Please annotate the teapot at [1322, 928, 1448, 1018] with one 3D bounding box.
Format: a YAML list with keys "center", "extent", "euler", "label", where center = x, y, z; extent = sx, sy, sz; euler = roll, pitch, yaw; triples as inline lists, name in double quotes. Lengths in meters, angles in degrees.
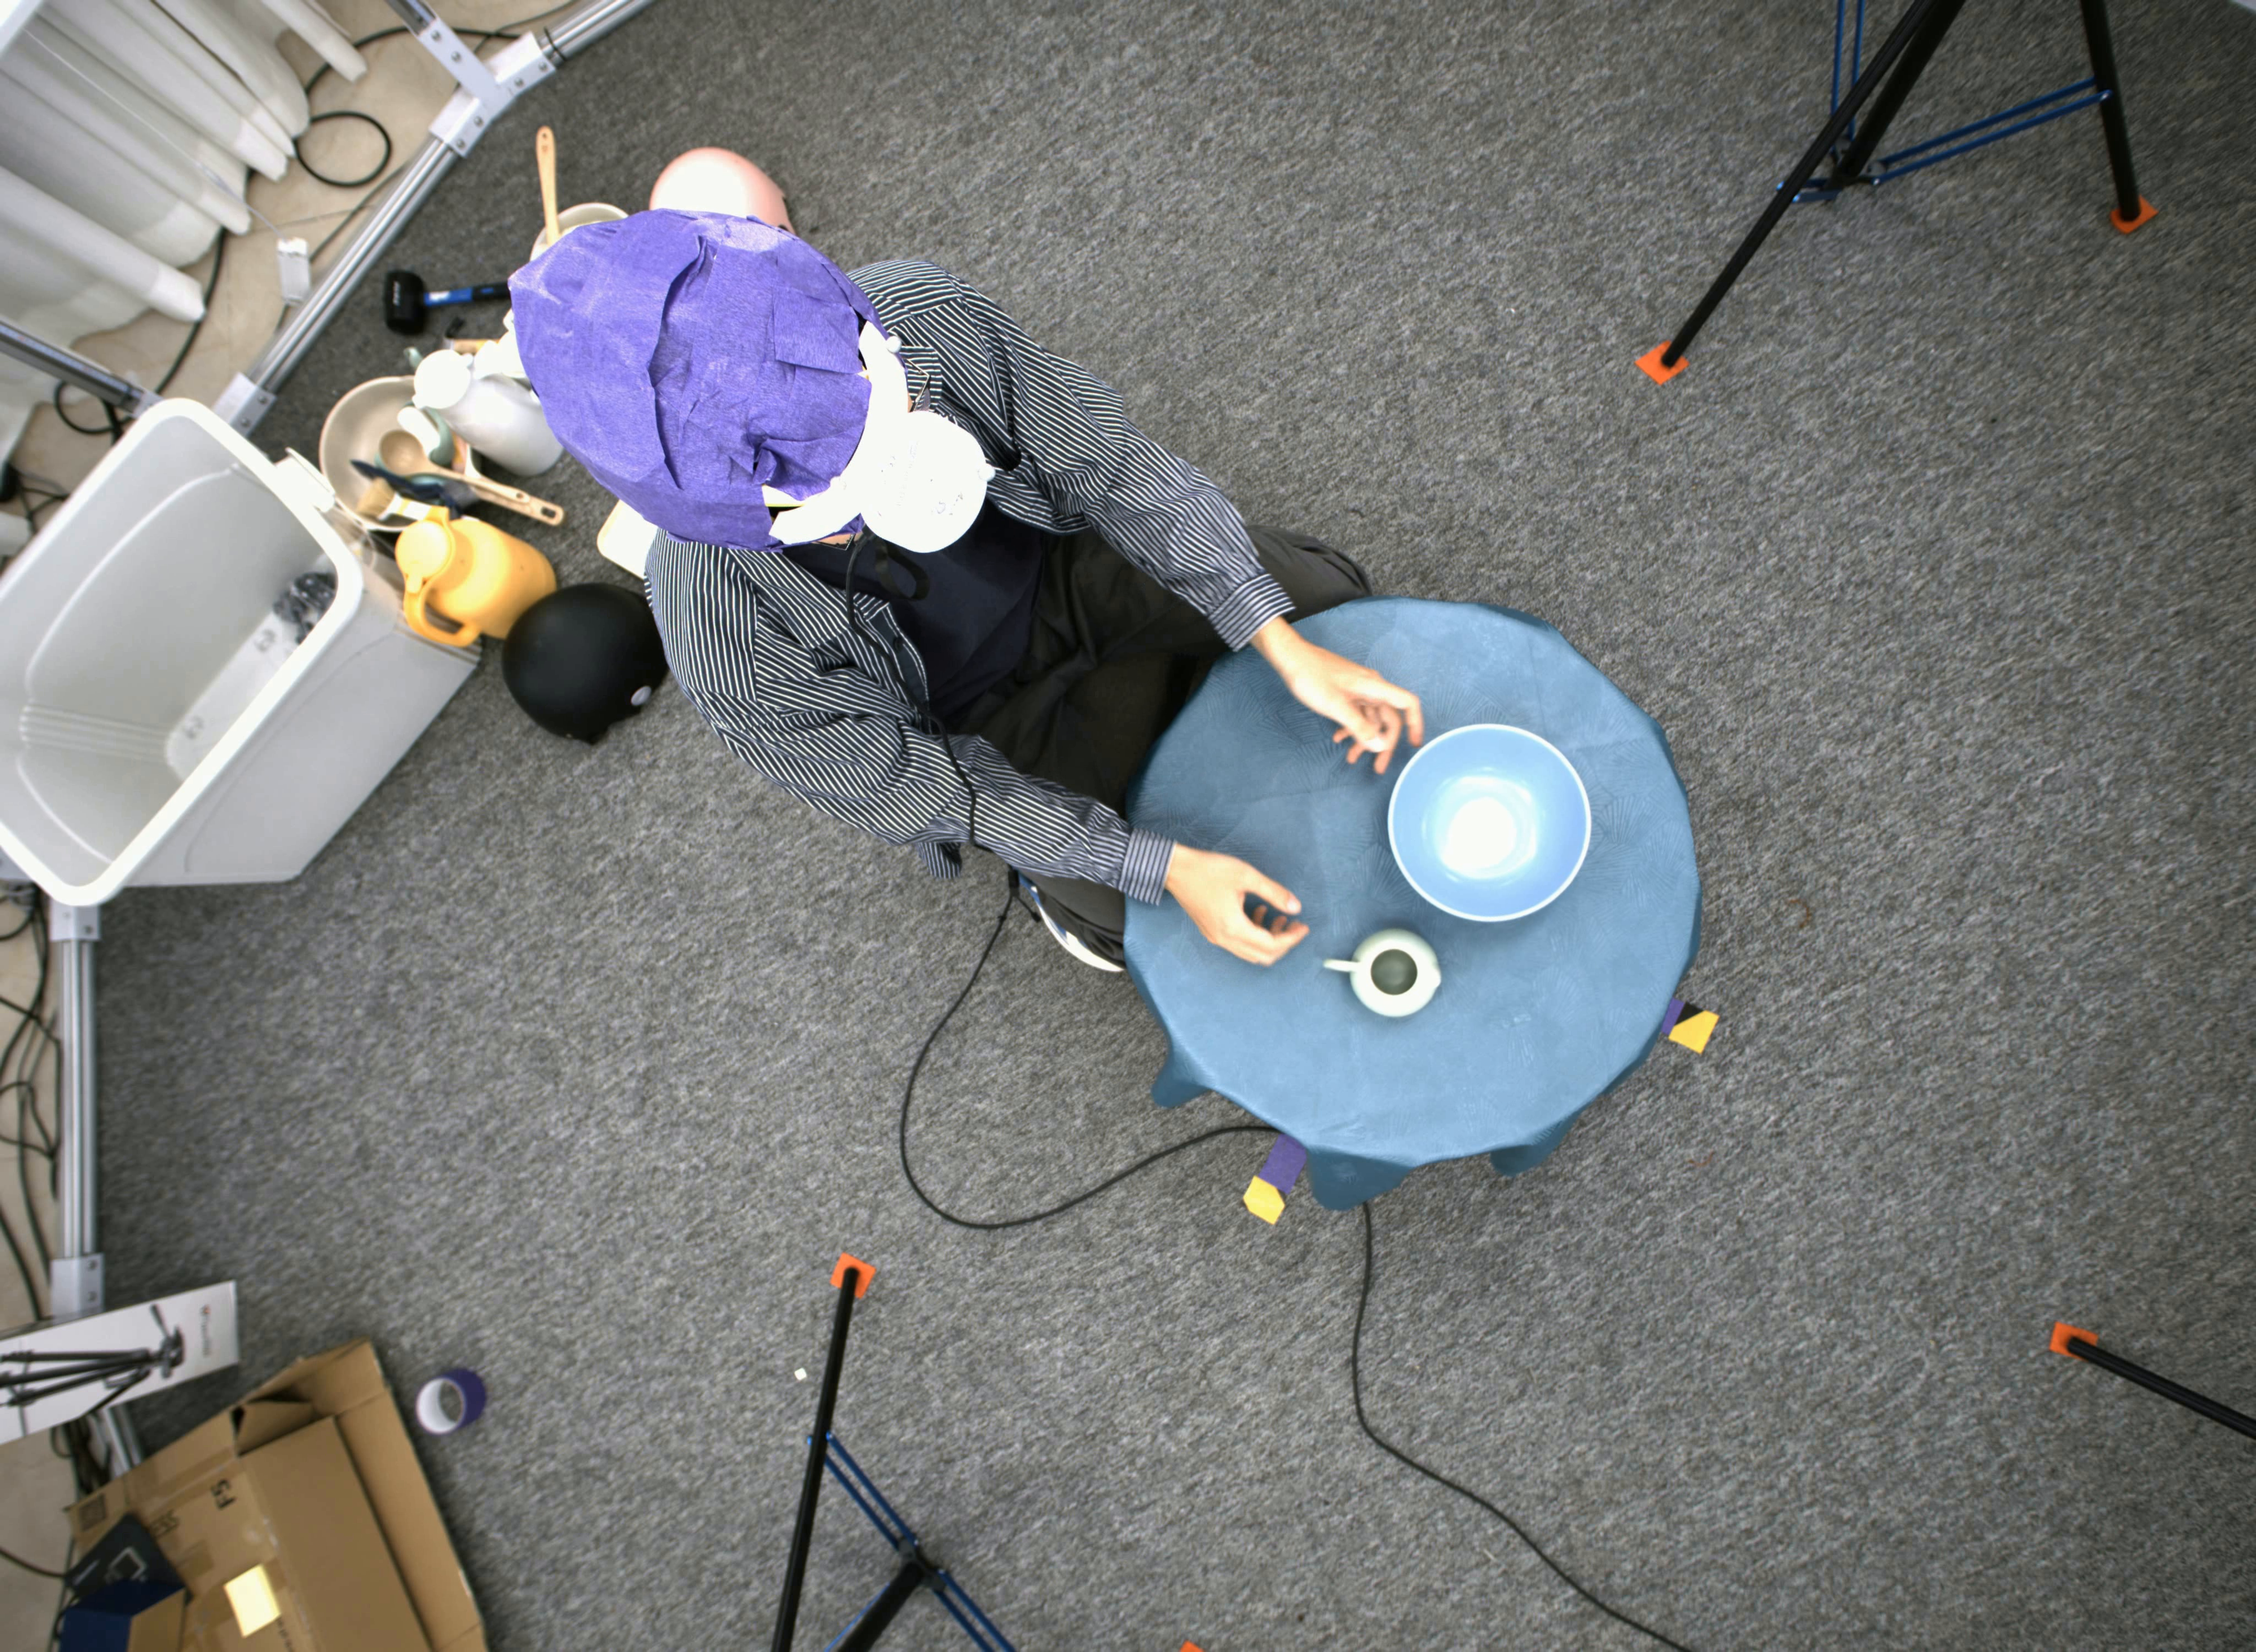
- center: [0.262, 0.147, 1.417]
  extent: [0.129, 0.061, 0.091]
  euler: [11, 91, 11]
  label: "teapot"

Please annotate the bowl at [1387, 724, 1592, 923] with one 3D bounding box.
- center: [0.361, -0.001, 1.389]
  extent: [0.197, 0.095, 0.196]
  euler: [-1, 88, 10]
  label: "bowl"
